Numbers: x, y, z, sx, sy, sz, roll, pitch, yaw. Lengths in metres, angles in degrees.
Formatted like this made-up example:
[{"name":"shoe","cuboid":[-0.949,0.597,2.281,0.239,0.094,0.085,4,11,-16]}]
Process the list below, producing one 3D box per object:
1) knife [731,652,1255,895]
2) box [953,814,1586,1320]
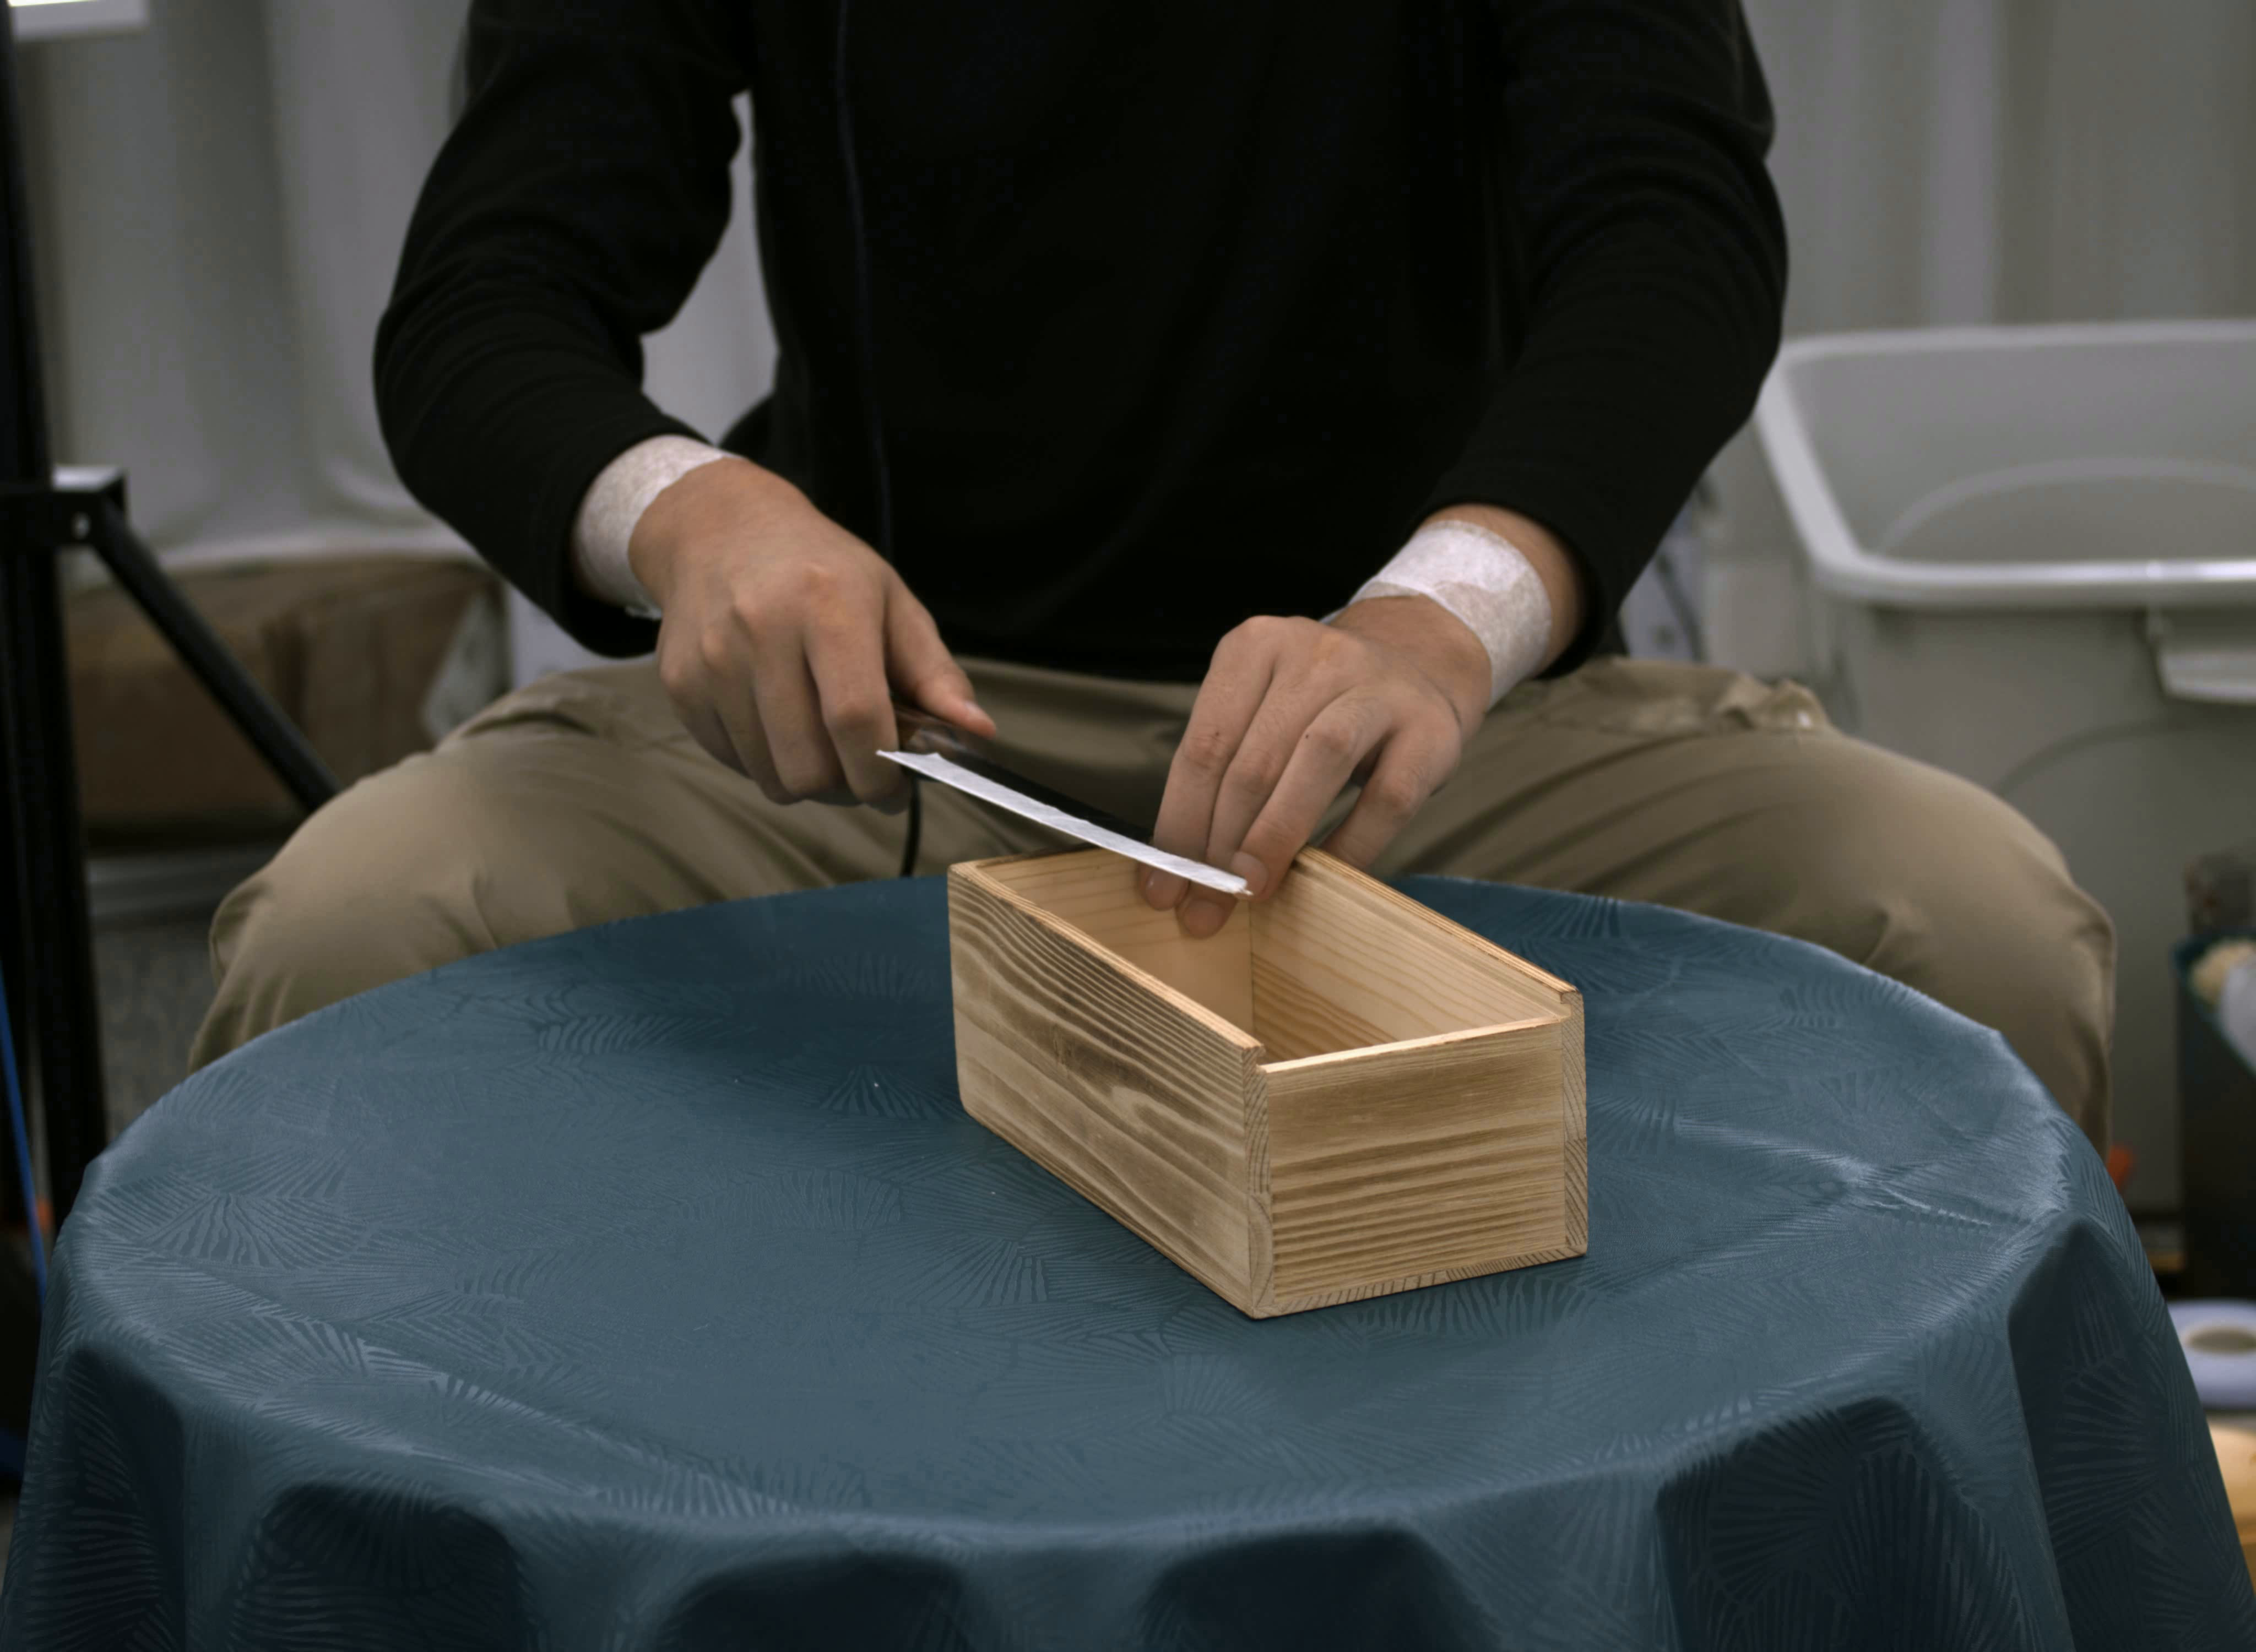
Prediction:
[{"name":"knife","cuboid":[-0.046,-0.015,1.671,0.049,0.020,0.296,5,11,-35]},{"name":"box","cuboid":[0.037,0.066,1.553,0.105,0.080,0.215,-8,17,-22]}]
